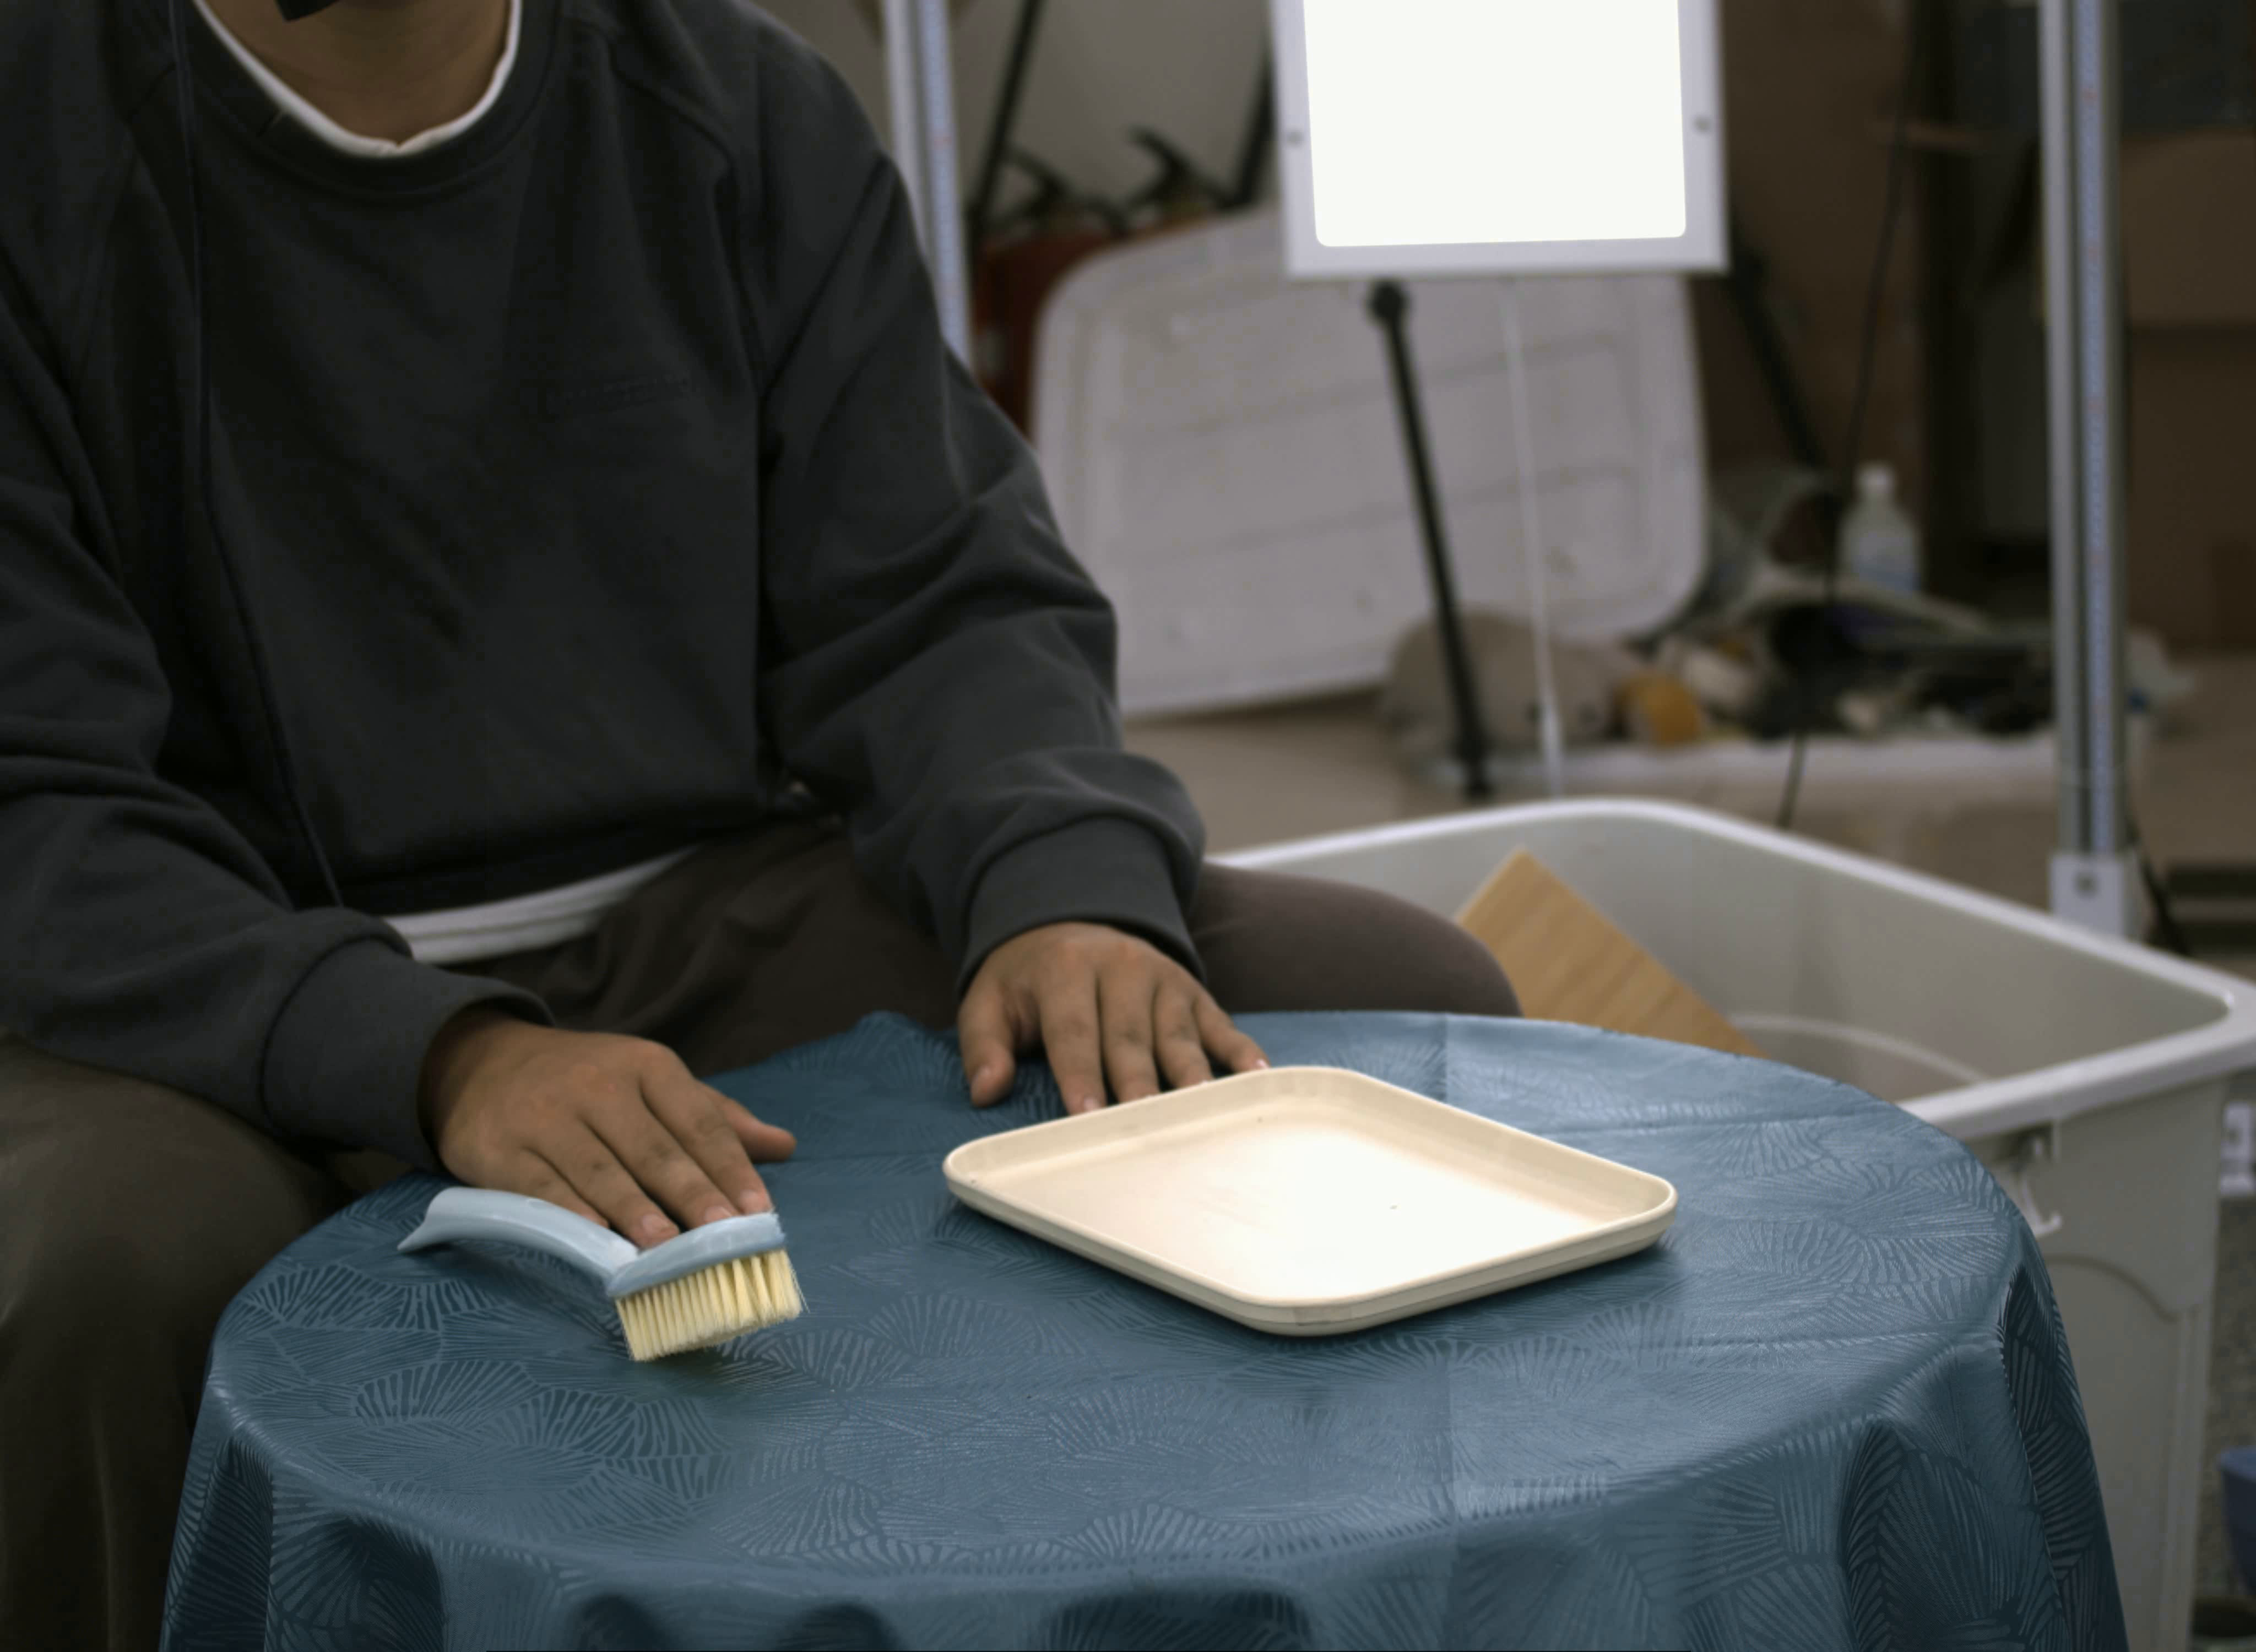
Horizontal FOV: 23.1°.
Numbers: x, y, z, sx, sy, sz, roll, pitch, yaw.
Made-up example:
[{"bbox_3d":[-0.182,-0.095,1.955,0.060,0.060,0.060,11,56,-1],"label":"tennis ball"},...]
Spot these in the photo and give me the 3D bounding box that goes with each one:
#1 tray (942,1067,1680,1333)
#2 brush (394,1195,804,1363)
[{"bbox_3d":[0.059,0.125,1.847,0.167,0.017,0.244,-12,15,-29],"label":"tray"},{"bbox_3d":[-0.178,0.147,1.811,0.037,0.050,0.234,-7,3,-37],"label":"brush"}]
